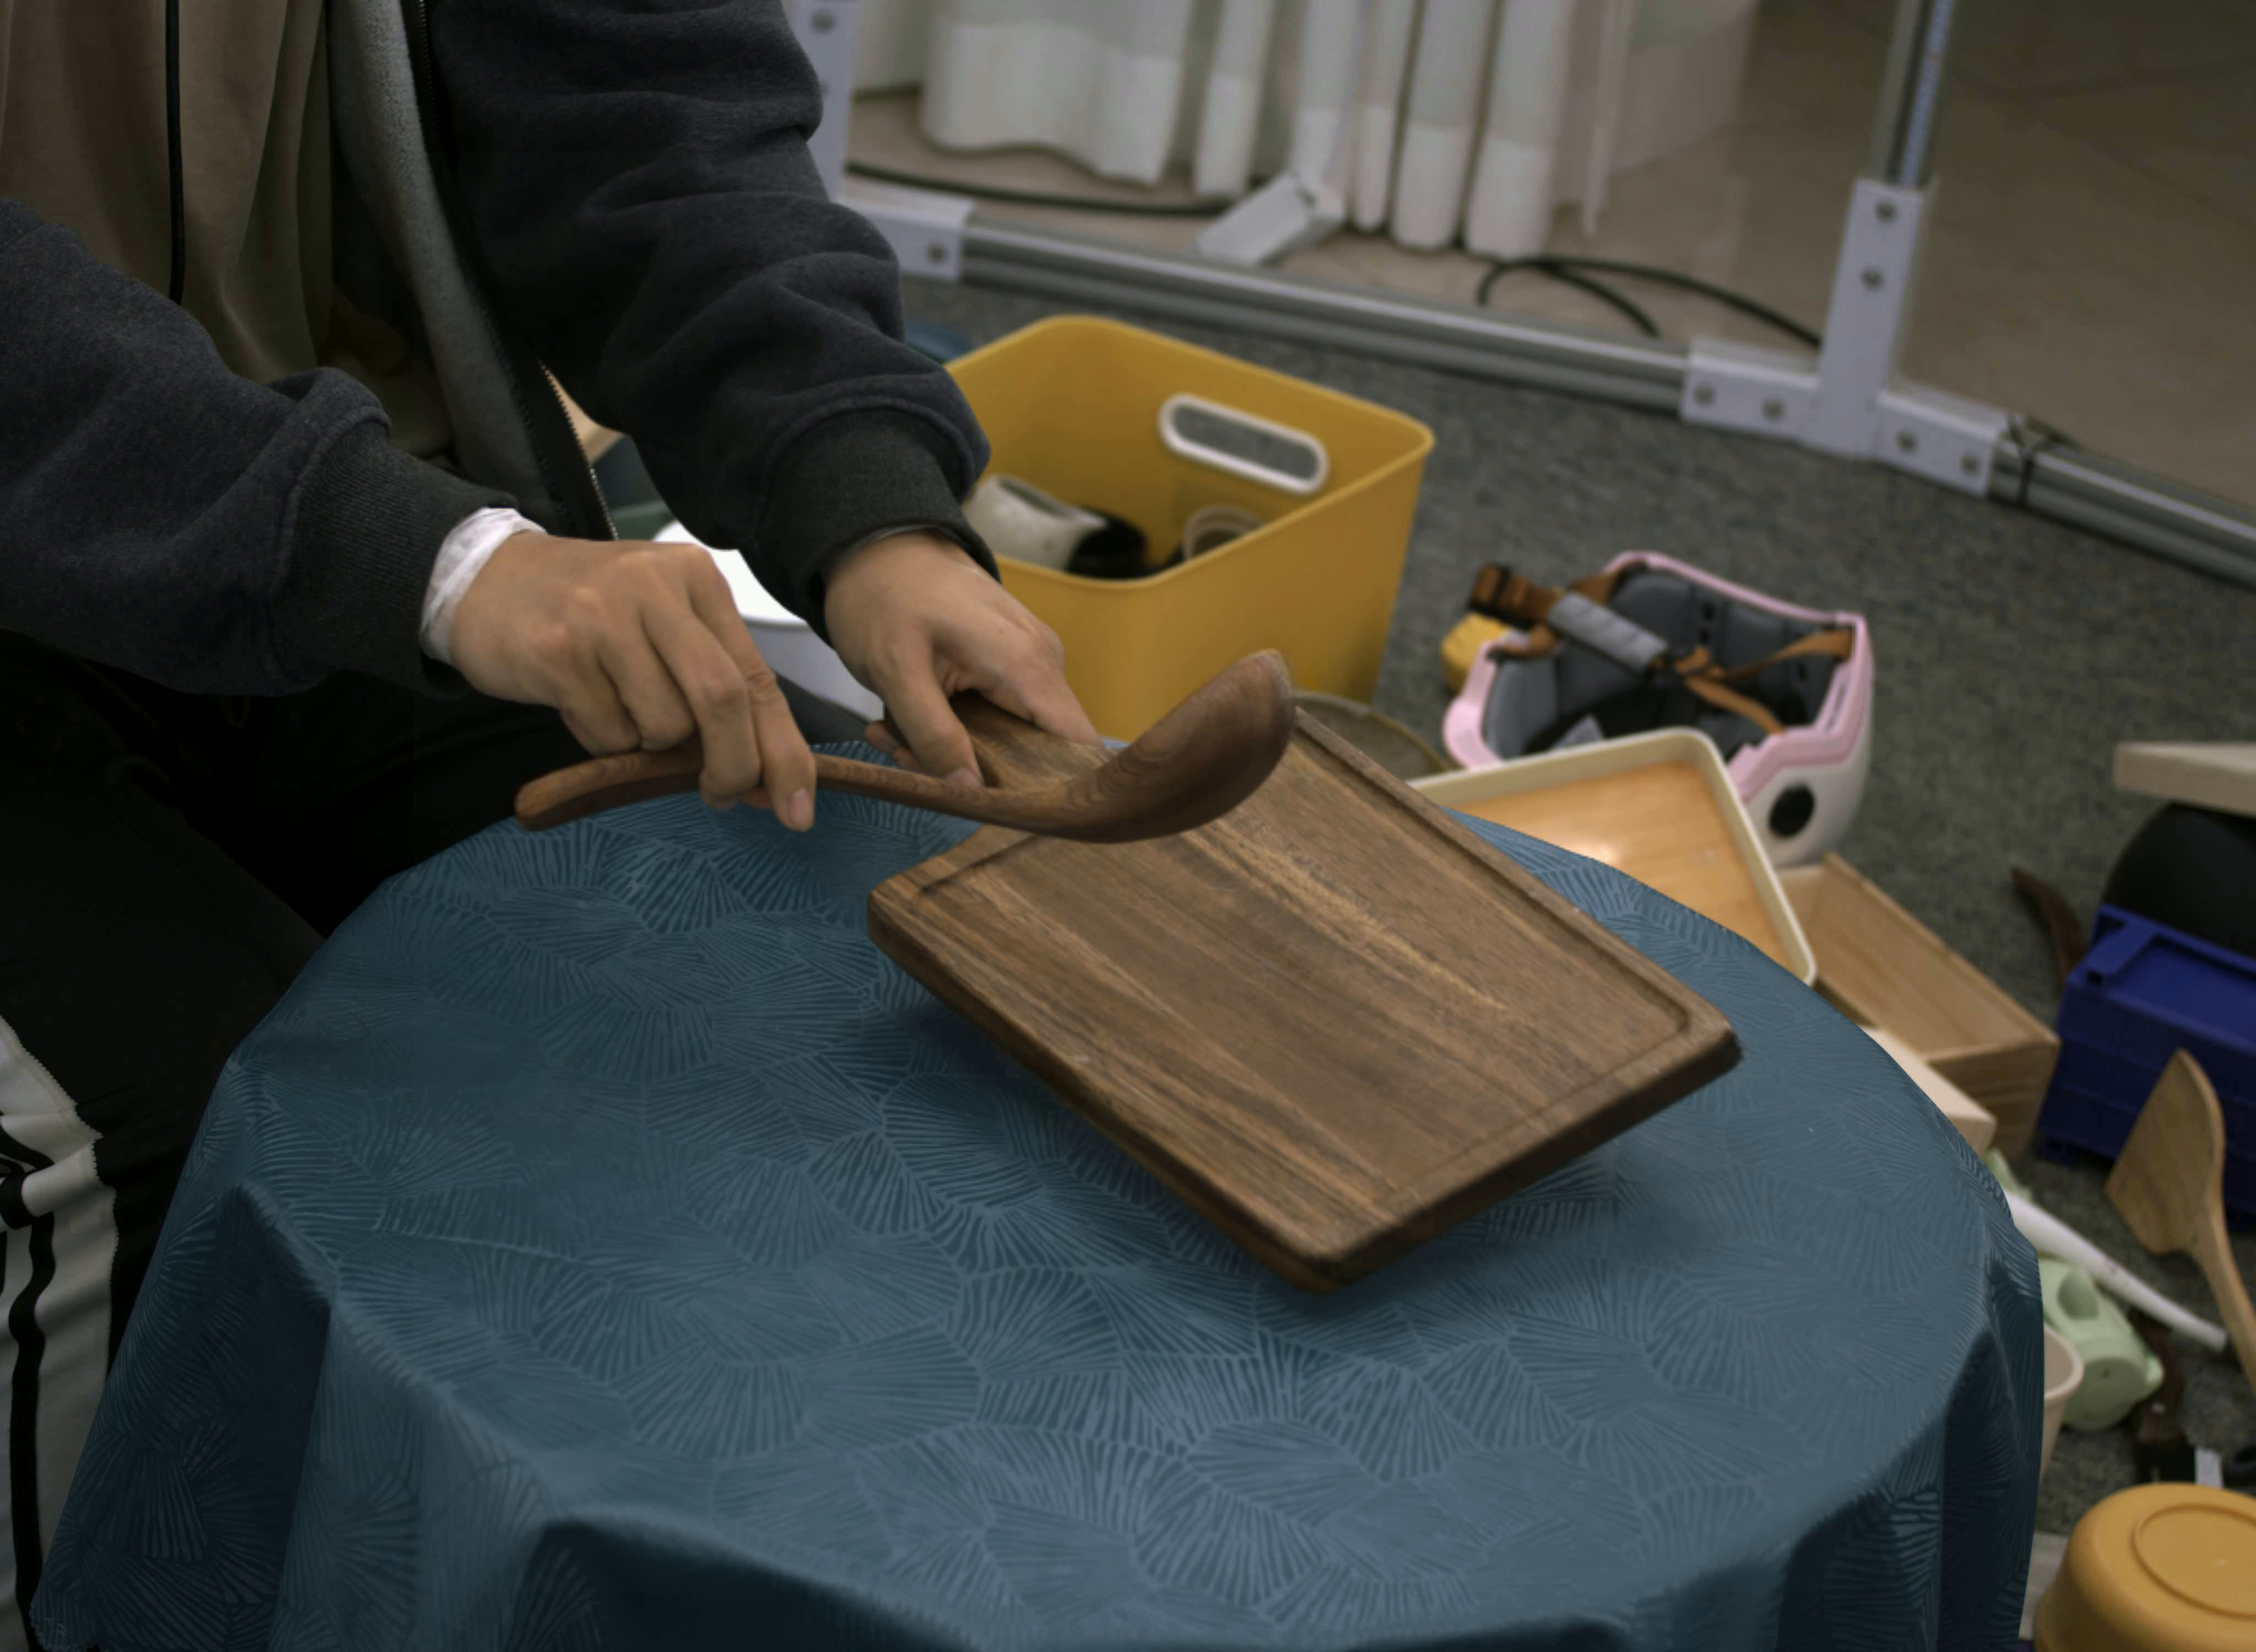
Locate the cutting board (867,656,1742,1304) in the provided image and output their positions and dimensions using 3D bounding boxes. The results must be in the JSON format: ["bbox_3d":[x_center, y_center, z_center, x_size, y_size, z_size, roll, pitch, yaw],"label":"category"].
[{"bbox_3d":[0.028,0.031,1.879,0.200,0.023,0.355,-25,45,-31],"label":"cutting board"}]

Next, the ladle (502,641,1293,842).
[{"bbox_3d":[-0.075,-0.027,1.755,0.259,0.076,0.065,0,67,1],"label":"ladle"}]
